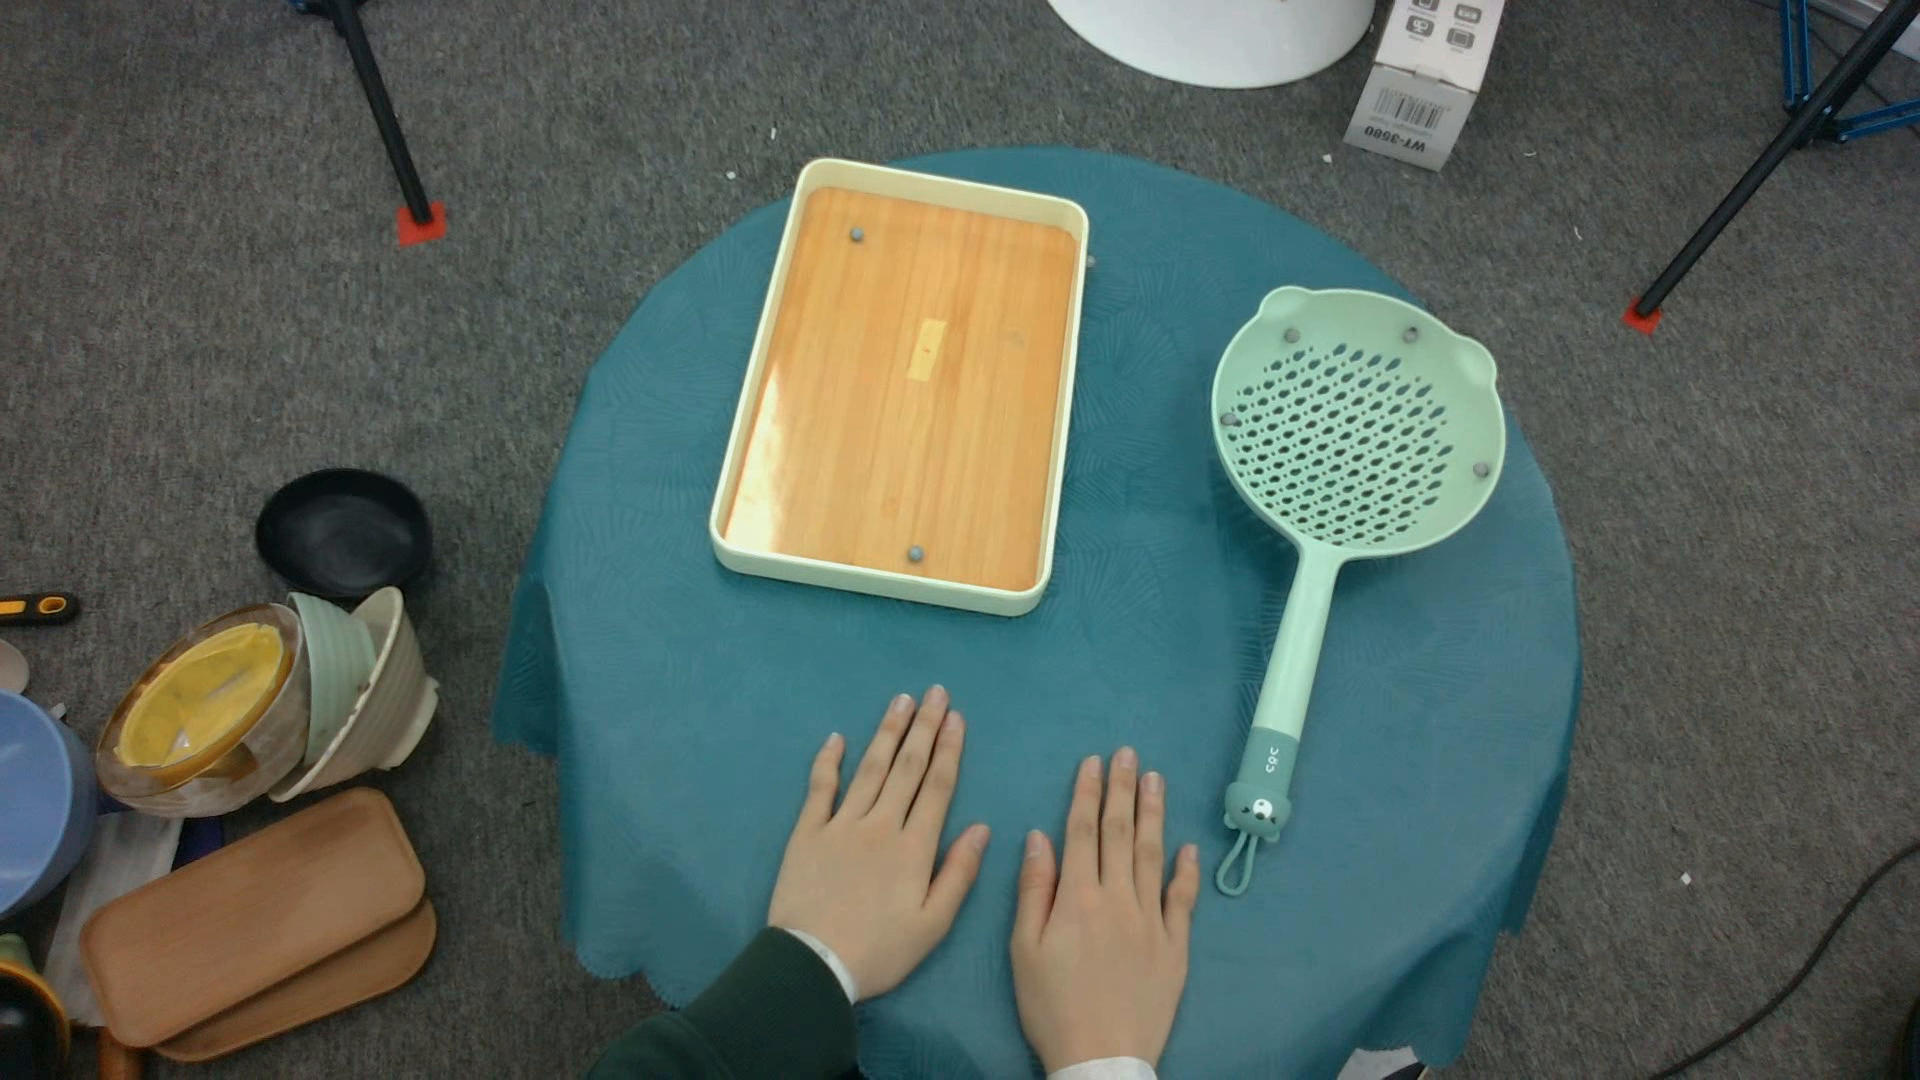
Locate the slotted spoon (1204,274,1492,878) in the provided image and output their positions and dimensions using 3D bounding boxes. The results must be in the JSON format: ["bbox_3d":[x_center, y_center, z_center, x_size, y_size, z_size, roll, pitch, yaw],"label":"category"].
[{"bbox_3d":[0.192,0.011,0.766,0.169,0.075,0.360,19,59,4],"label":"slotted spoon"}]

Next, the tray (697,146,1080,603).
[{"bbox_3d":[-0.034,-0.110,0.829,0.191,0.027,0.301,10,59,-2],"label":"tray"}]
